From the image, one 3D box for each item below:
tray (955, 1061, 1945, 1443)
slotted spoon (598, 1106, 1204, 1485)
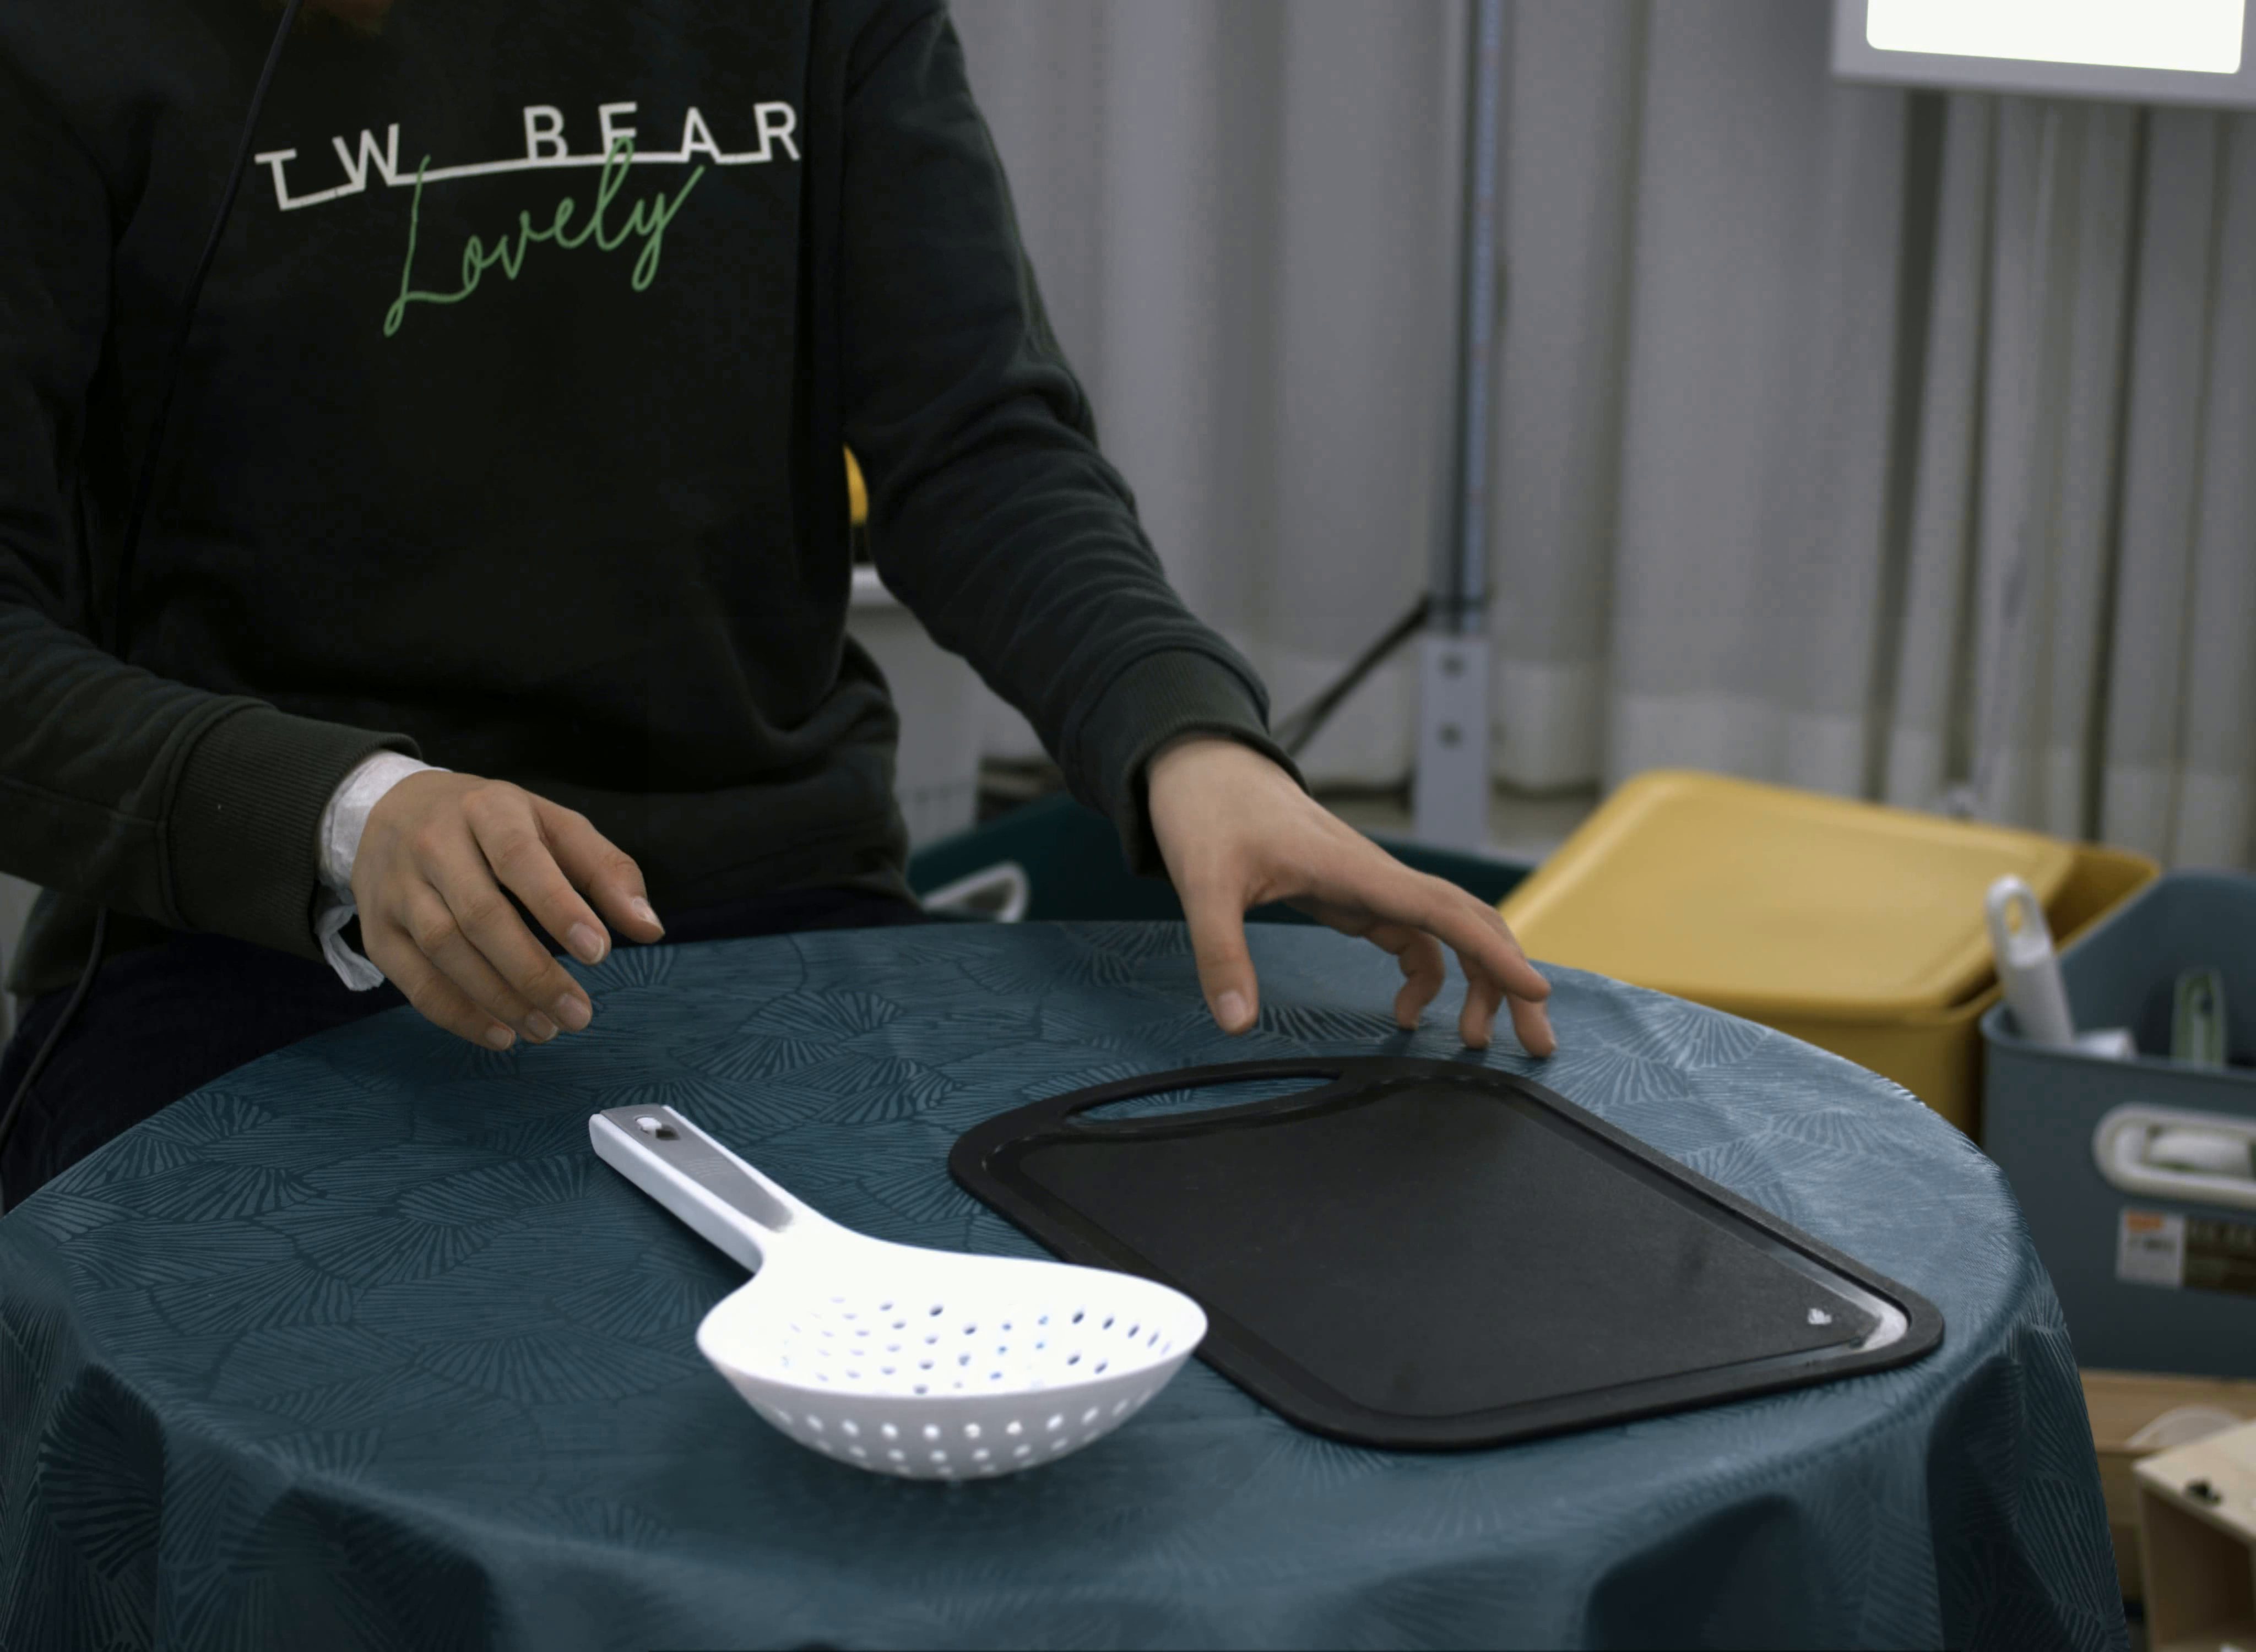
[{"bbox_3d":[0.086,0.121,1.590,0.212,0.010,0.321,-7,17,-26],"label":"tray"},{"bbox_3d":[-0.089,0.124,1.499,0.136,0.046,0.345,-4,16,-23],"label":"slotted spoon"}]
